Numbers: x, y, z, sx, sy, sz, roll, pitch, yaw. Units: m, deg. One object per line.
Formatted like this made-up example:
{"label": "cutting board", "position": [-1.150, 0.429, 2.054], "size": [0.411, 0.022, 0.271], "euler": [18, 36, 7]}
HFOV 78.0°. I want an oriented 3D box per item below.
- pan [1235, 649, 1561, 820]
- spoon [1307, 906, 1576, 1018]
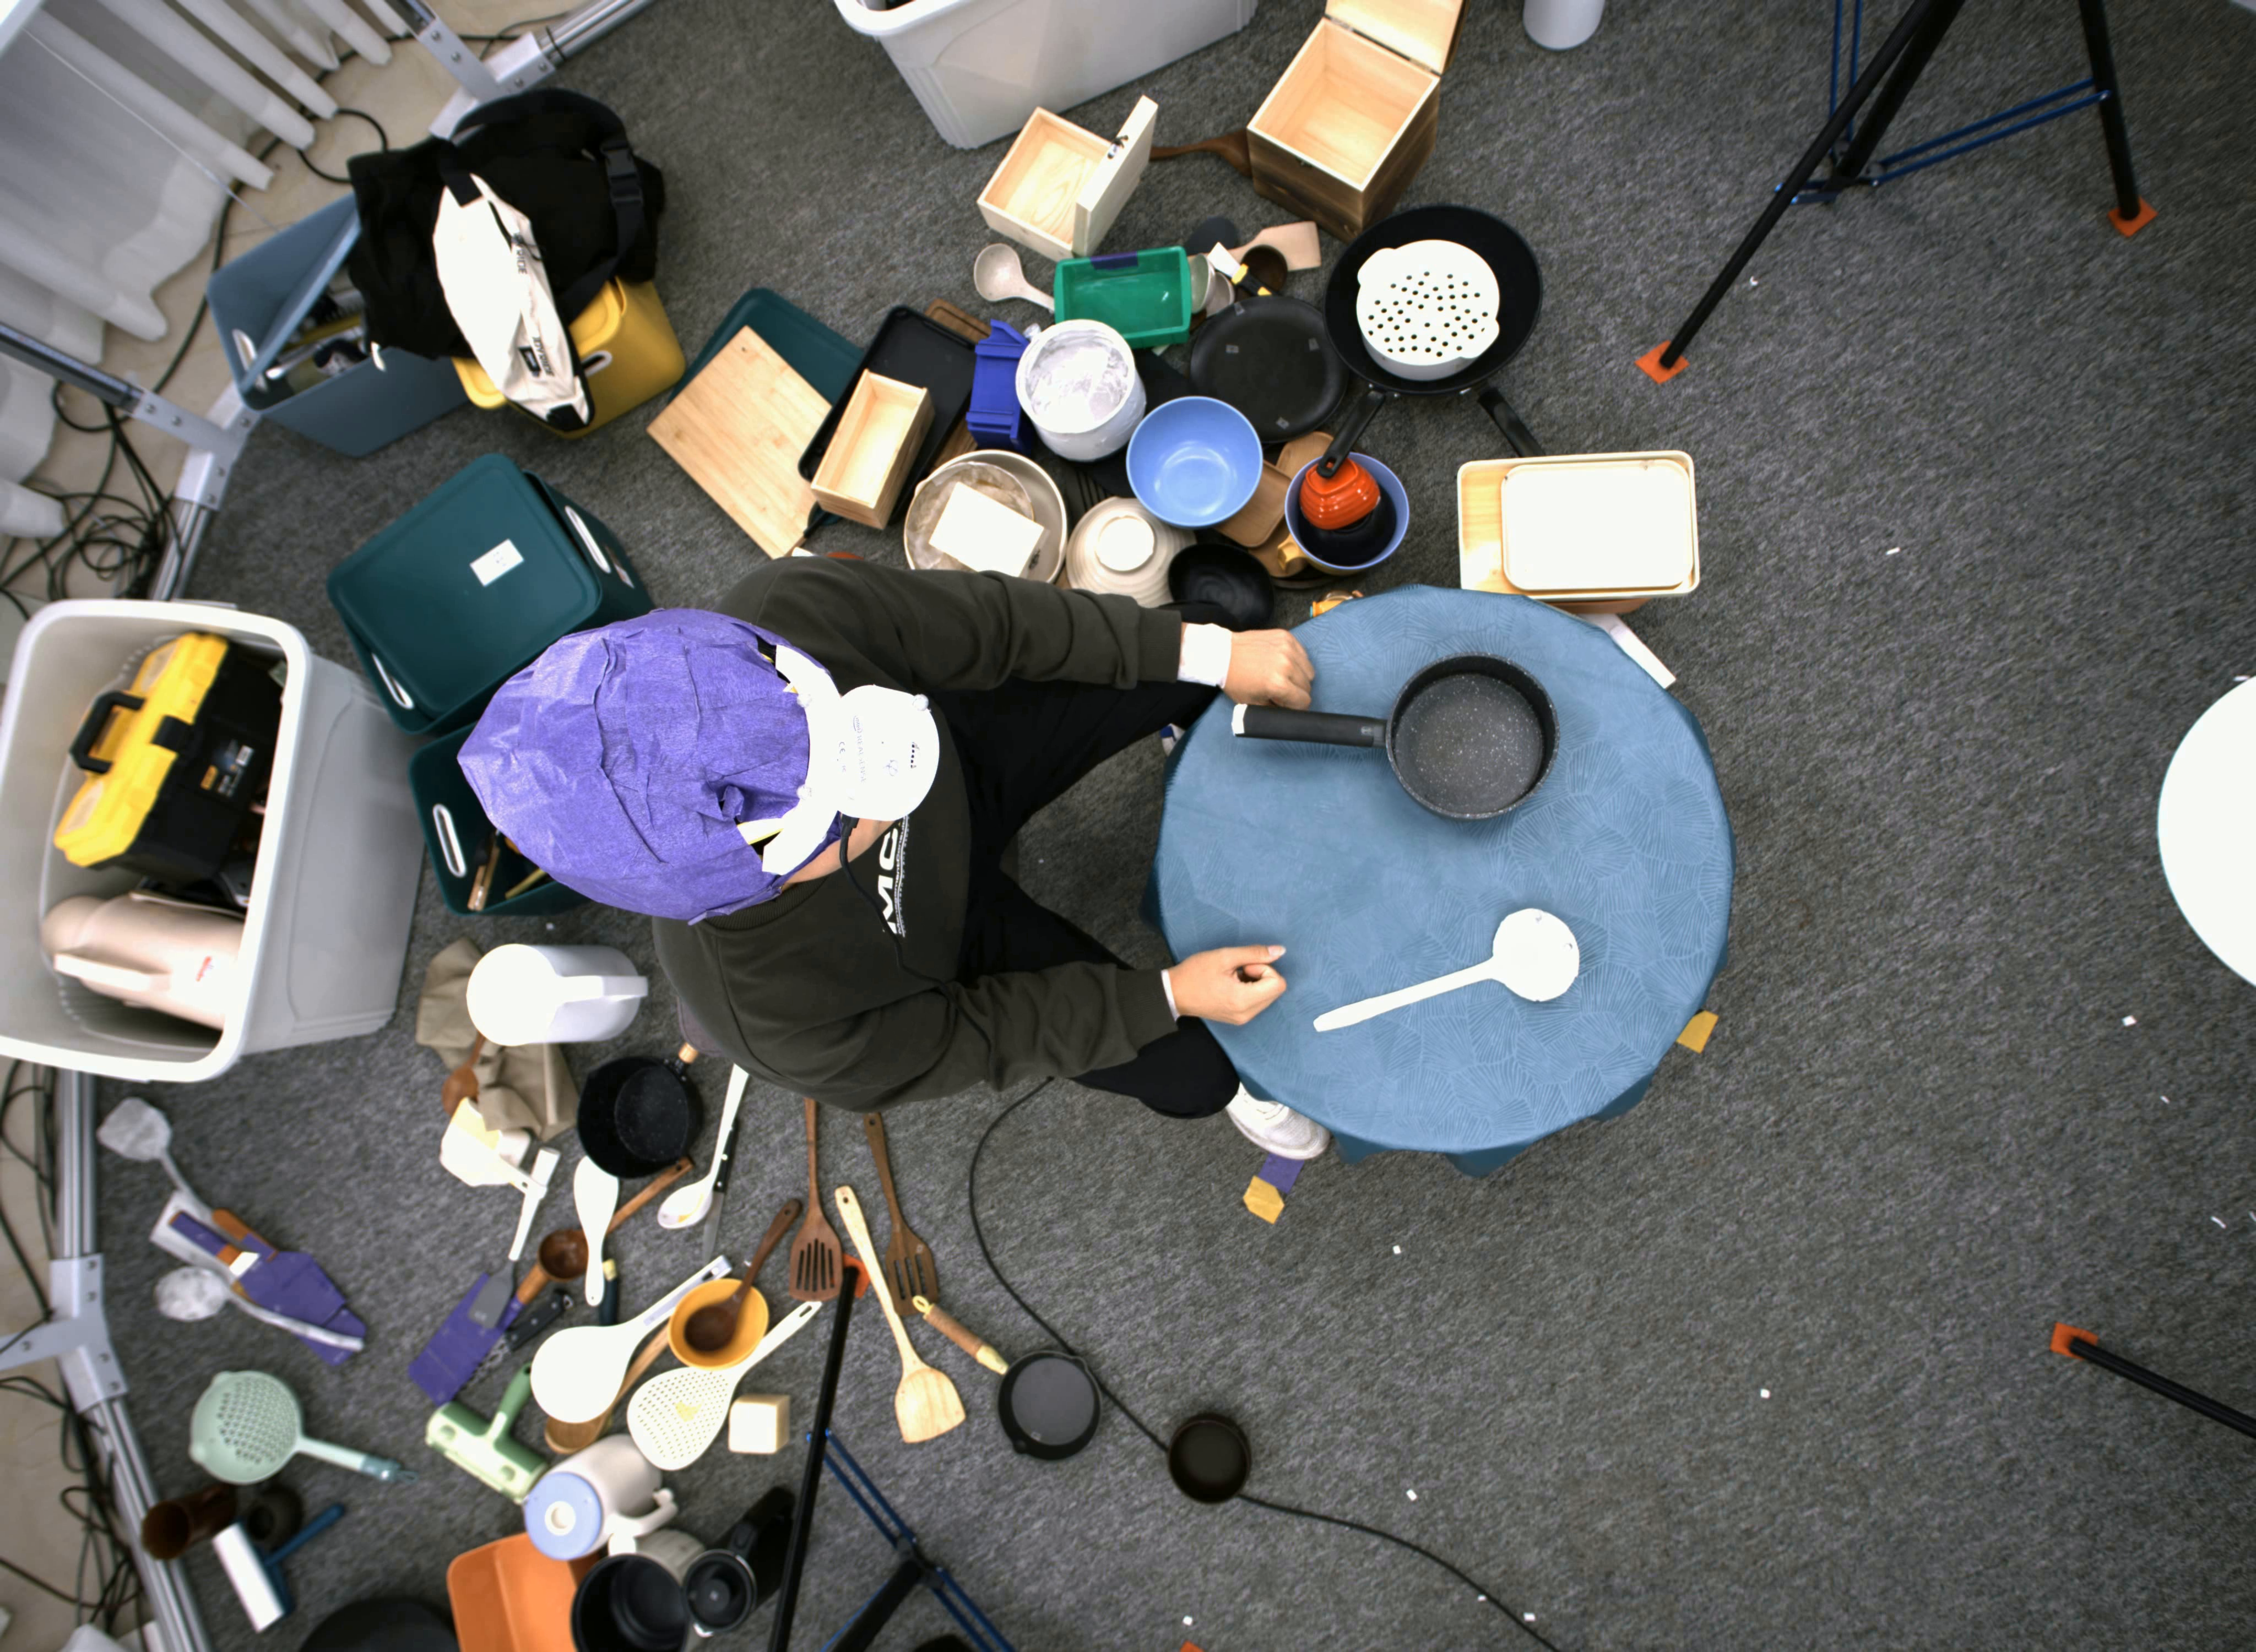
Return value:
{"label": "pan", "position": [0.275, -0.100, 1.426], "size": [0.329, 0.086, 0.171], "euler": [7, 86, 10]}
{"label": "spoon", "position": [0.317, 0.152, 1.420], "size": [0.279, 0.059, 0.100], "euler": [-15, 81, 10]}
